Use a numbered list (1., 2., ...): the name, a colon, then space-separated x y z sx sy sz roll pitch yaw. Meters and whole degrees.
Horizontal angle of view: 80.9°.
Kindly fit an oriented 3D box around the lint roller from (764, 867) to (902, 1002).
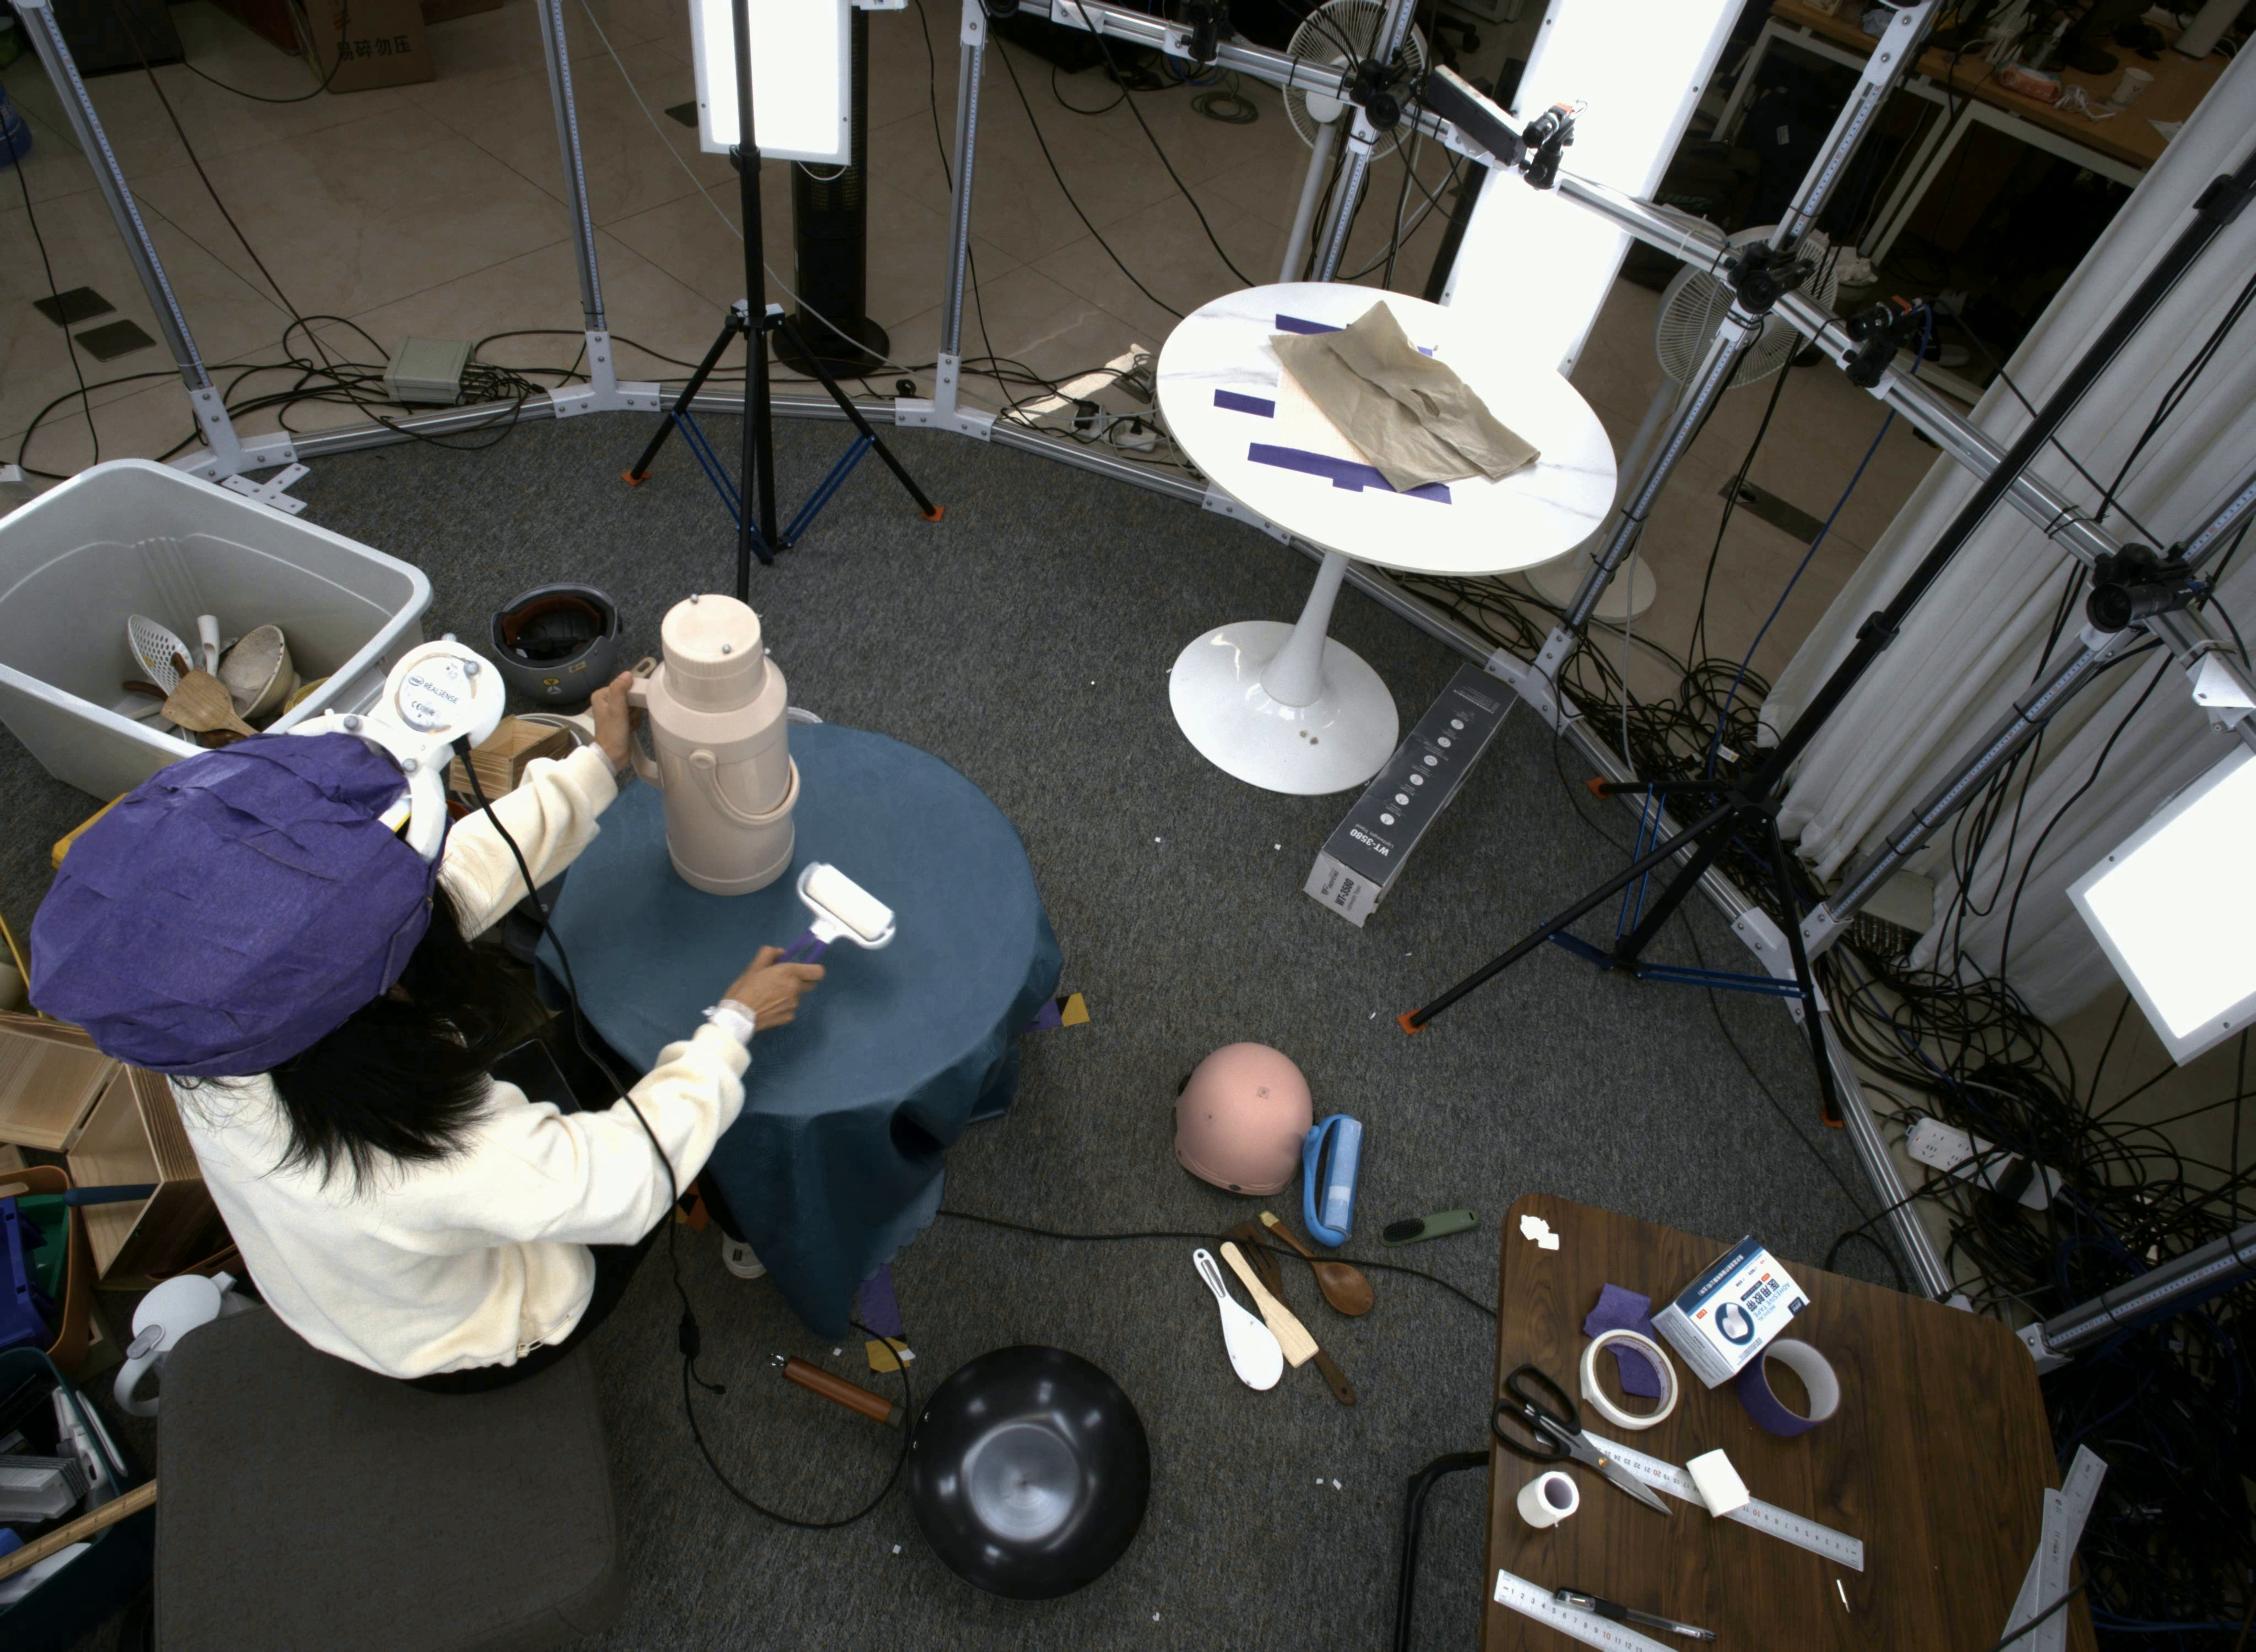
1. lint roller: -0.368 0.132 1.535 0.131 0.051 0.180 36 50 8

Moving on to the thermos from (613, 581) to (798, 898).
1. thermos: -0.496 -0.100 1.518 0.206 0.415 0.172 5 52 -8
